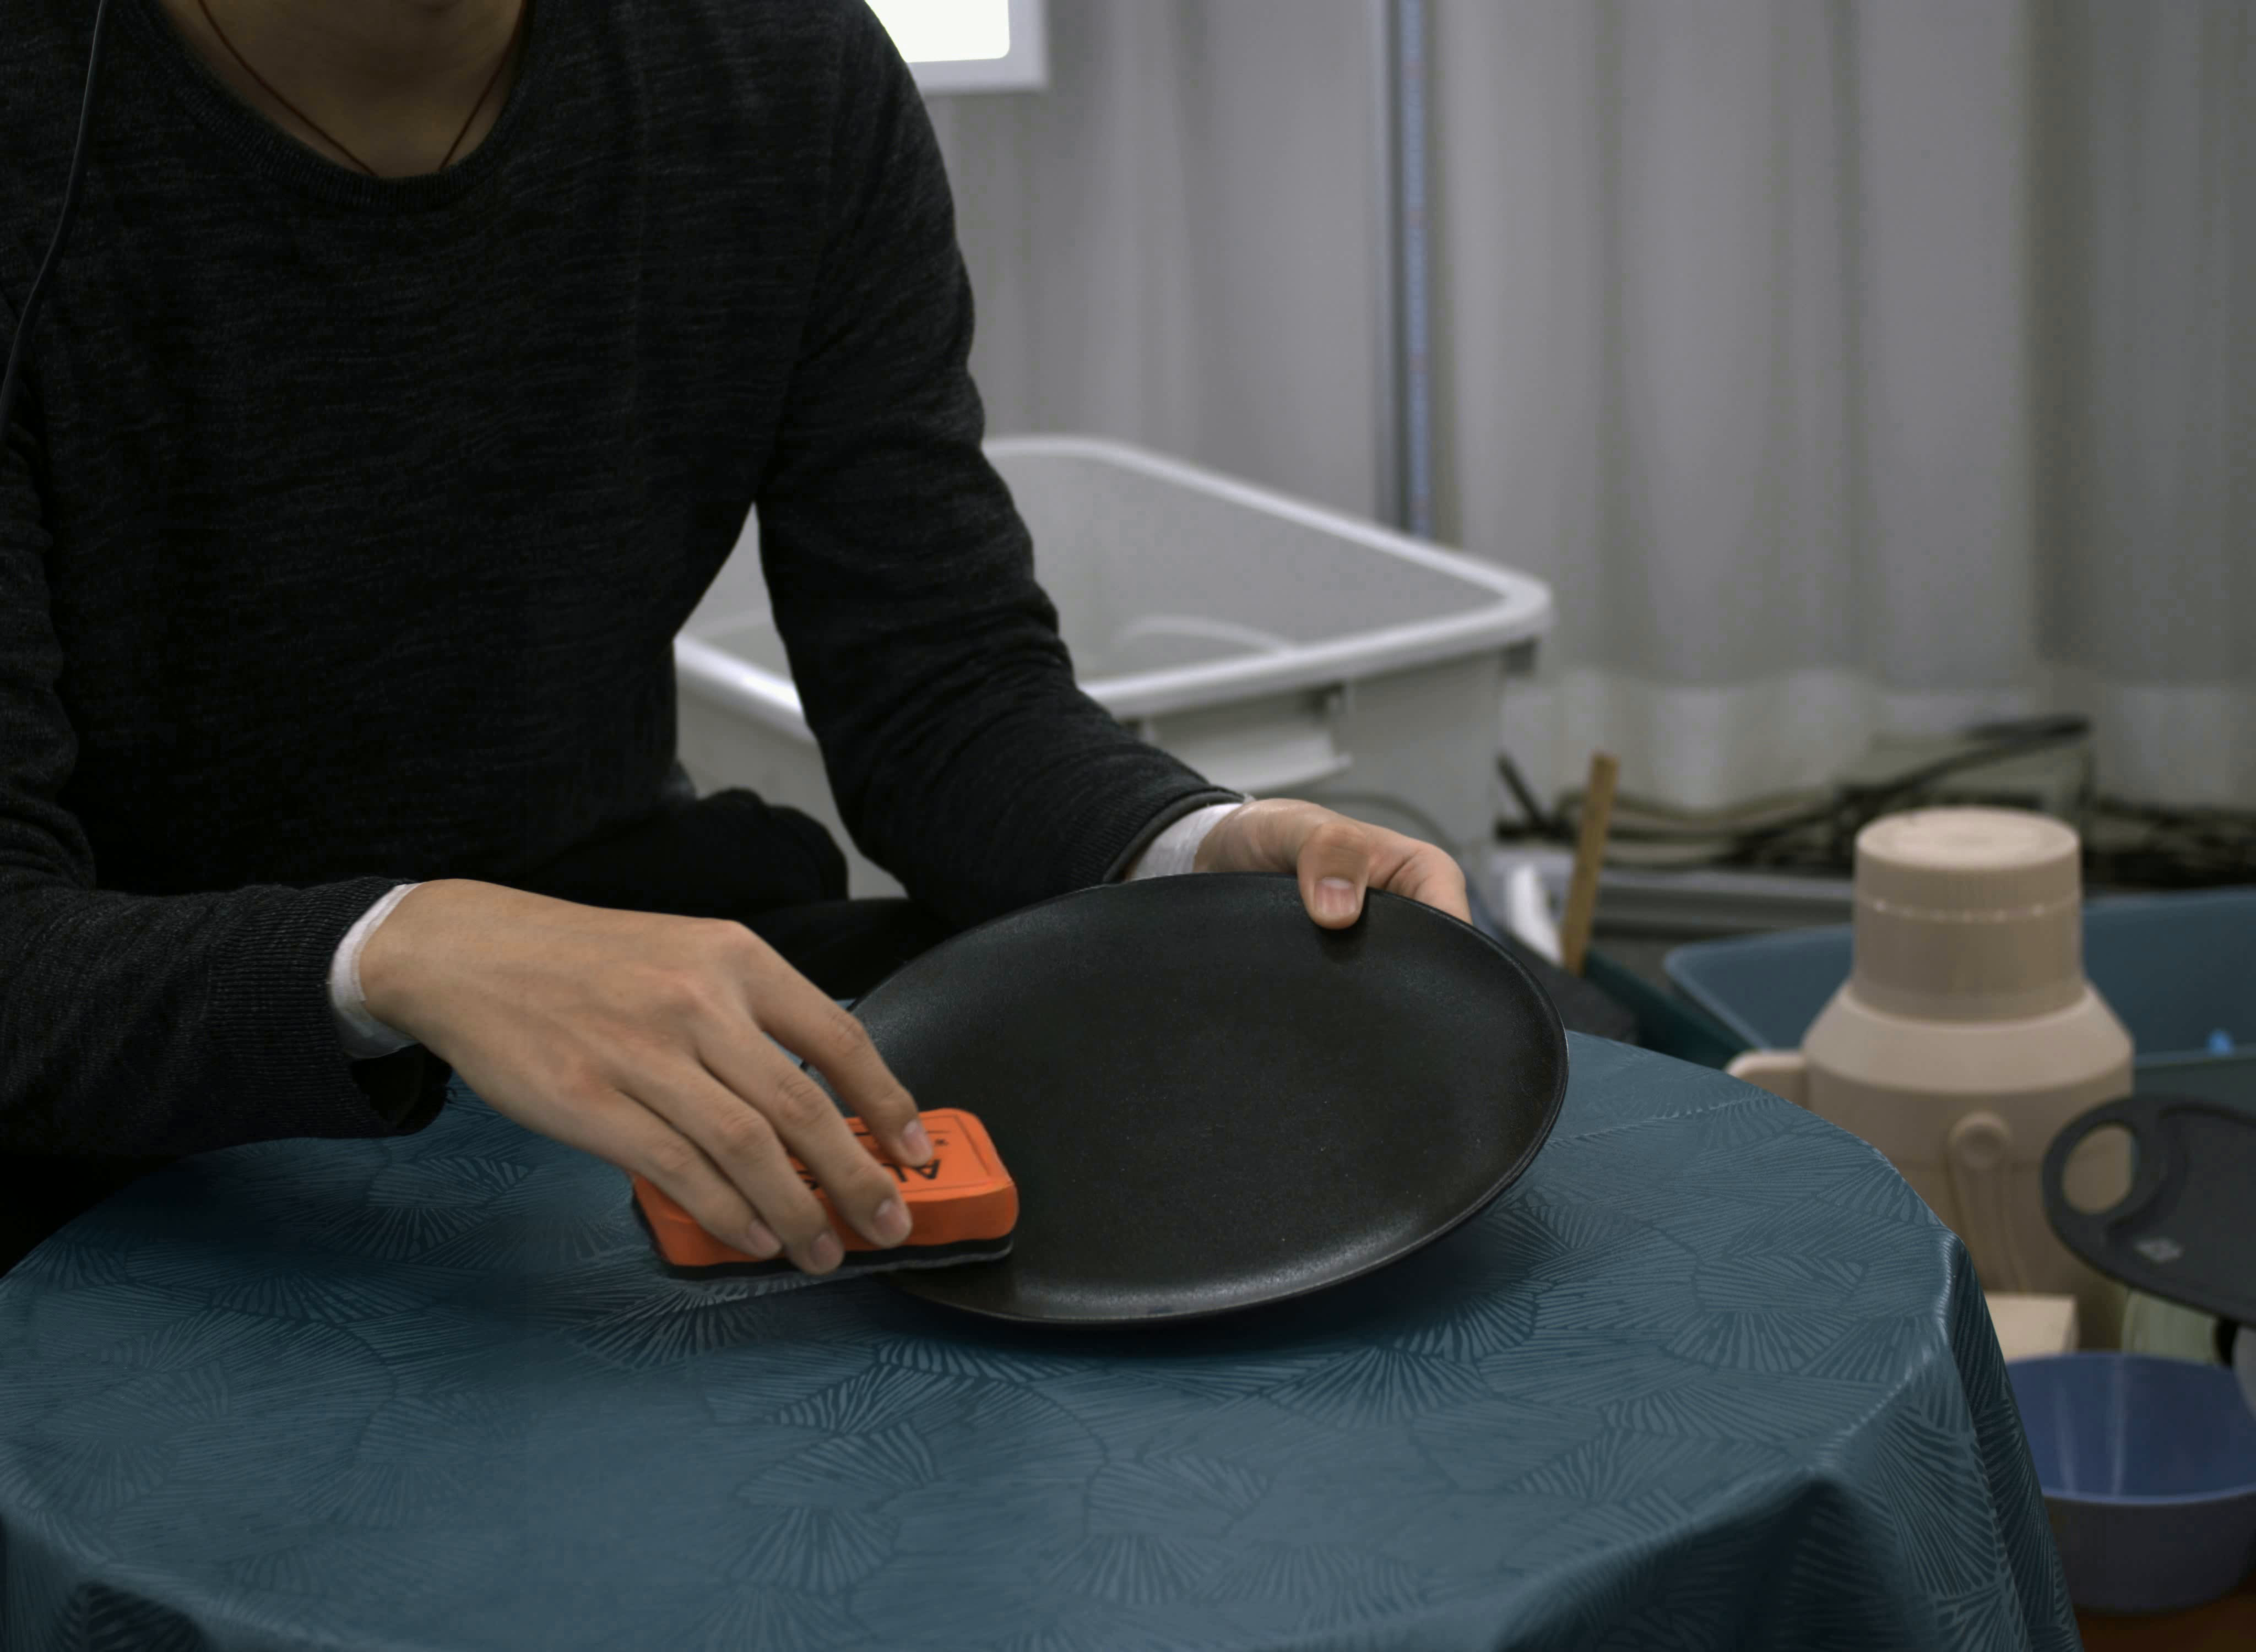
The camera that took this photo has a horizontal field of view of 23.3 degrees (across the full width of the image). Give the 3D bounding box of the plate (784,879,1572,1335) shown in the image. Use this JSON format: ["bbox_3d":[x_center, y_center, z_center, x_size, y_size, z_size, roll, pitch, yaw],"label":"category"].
[{"bbox_3d":[0.015,0.088,1.671,0.243,0.023,0.247,-7,30,3],"label":"plate"}]

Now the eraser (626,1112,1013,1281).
[{"bbox_3d":[-0.091,0.109,1.619,0.107,0.023,0.059,-3,24,-17],"label":"eraser"}]
